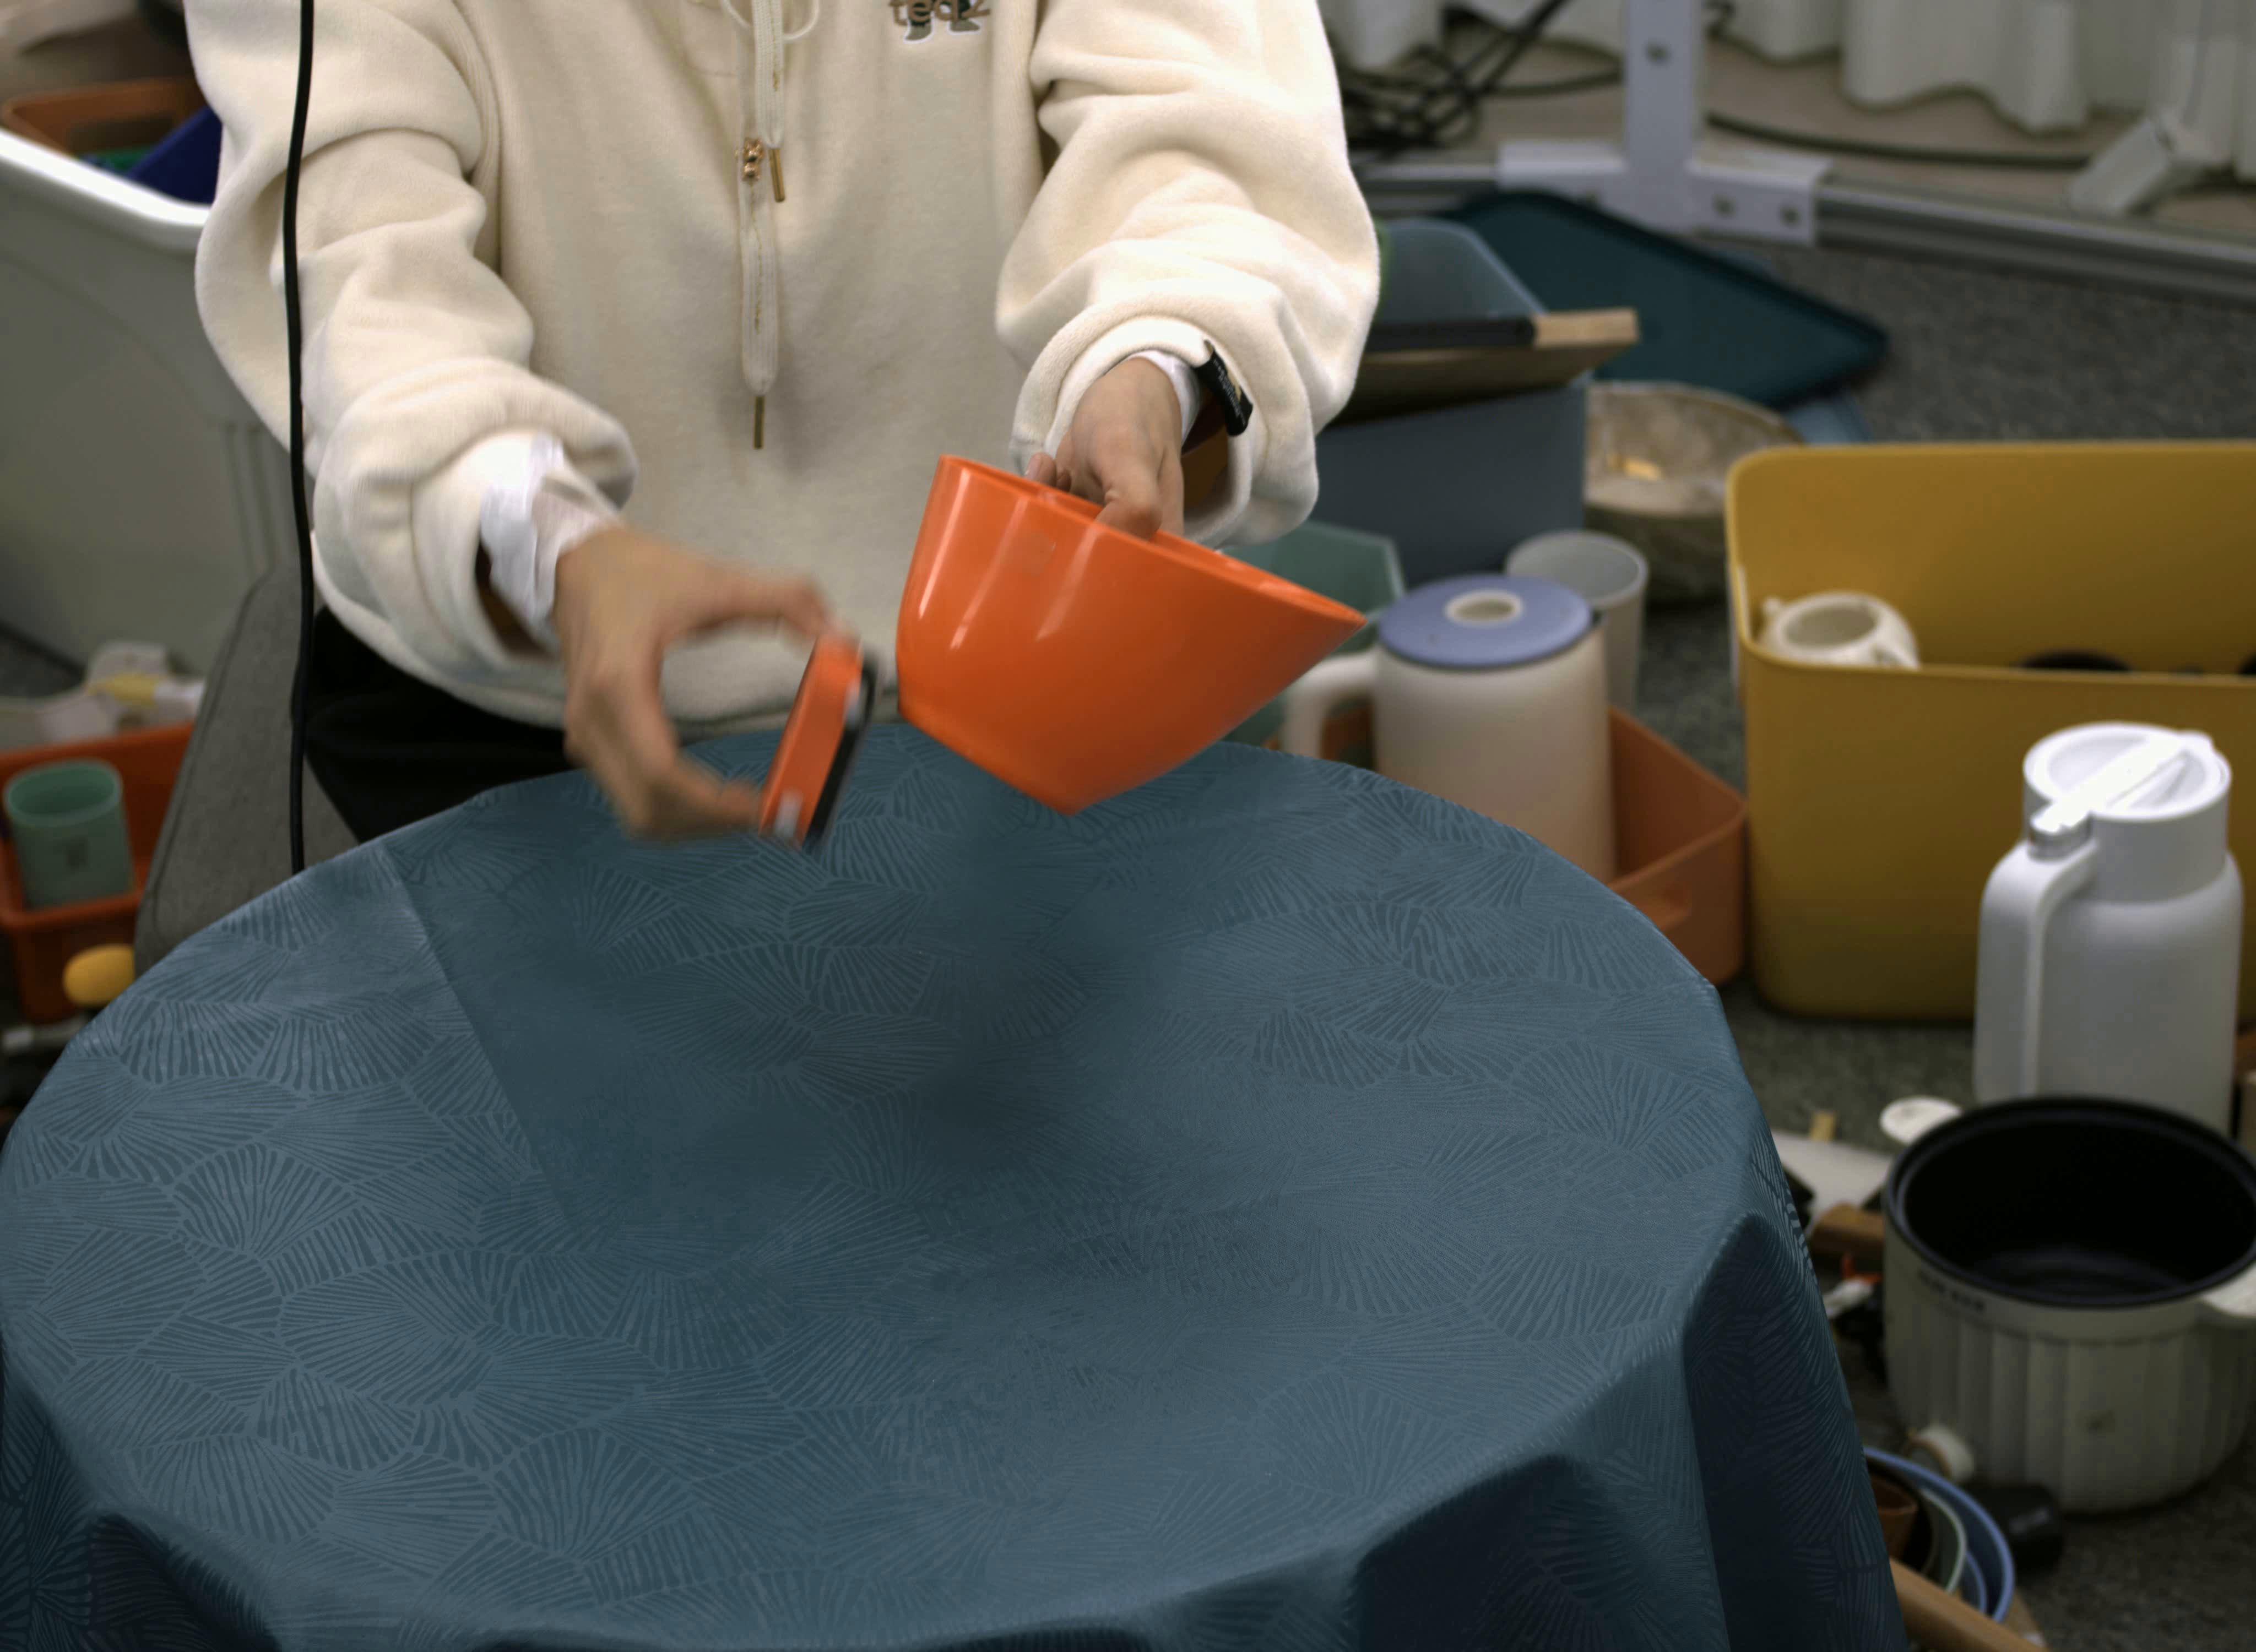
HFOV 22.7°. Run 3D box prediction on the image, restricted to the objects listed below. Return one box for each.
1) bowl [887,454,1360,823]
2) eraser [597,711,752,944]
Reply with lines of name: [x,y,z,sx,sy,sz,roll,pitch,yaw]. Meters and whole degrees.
bowl: [-0.014,-0.056,1.827,0.147,0.105,0.148,31,2,-1]
eraser: [-0.149,0.000,1.861,0.023,0.059,0.109,25,11,-4]
